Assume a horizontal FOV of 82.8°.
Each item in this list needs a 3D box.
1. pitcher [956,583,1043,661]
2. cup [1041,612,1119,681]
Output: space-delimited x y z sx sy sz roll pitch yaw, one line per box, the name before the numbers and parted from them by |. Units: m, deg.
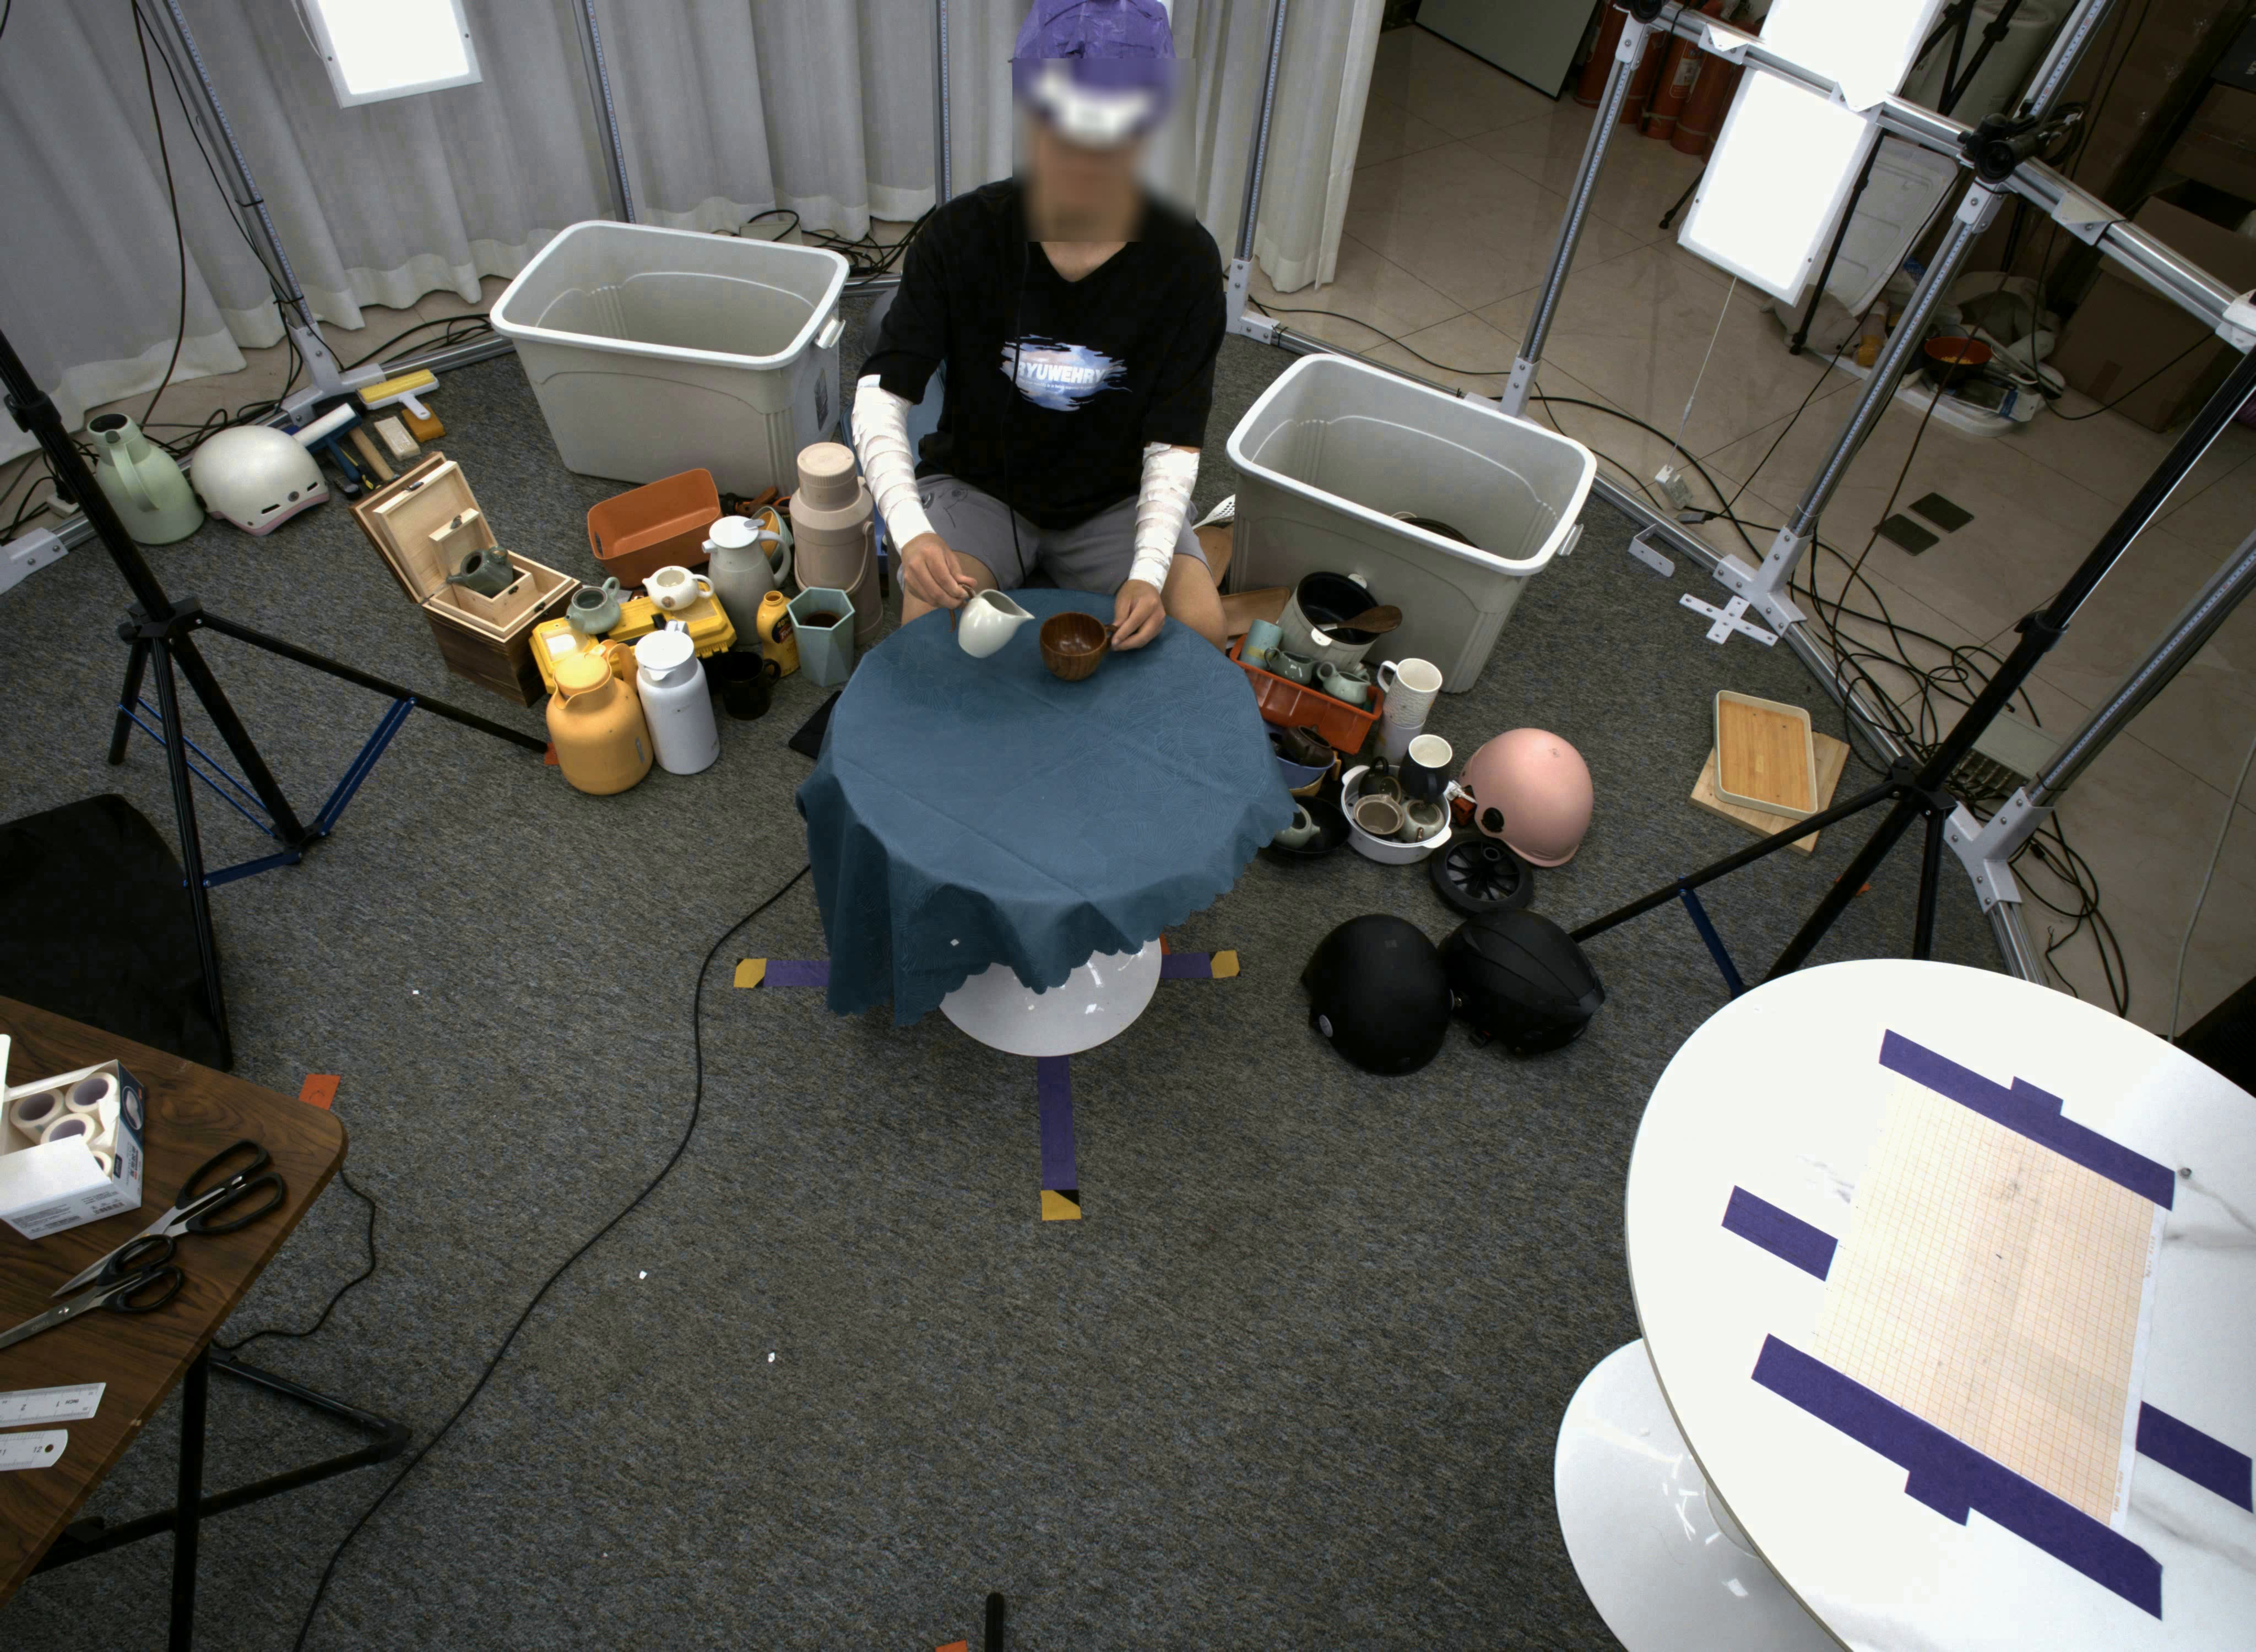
pitcher | -0.190 -0.278 1.768 0.118 0.086 0.077 34 28 -12
cup | -0.066 -0.256 1.848 0.119 0.066 0.098 -18 50 -20
